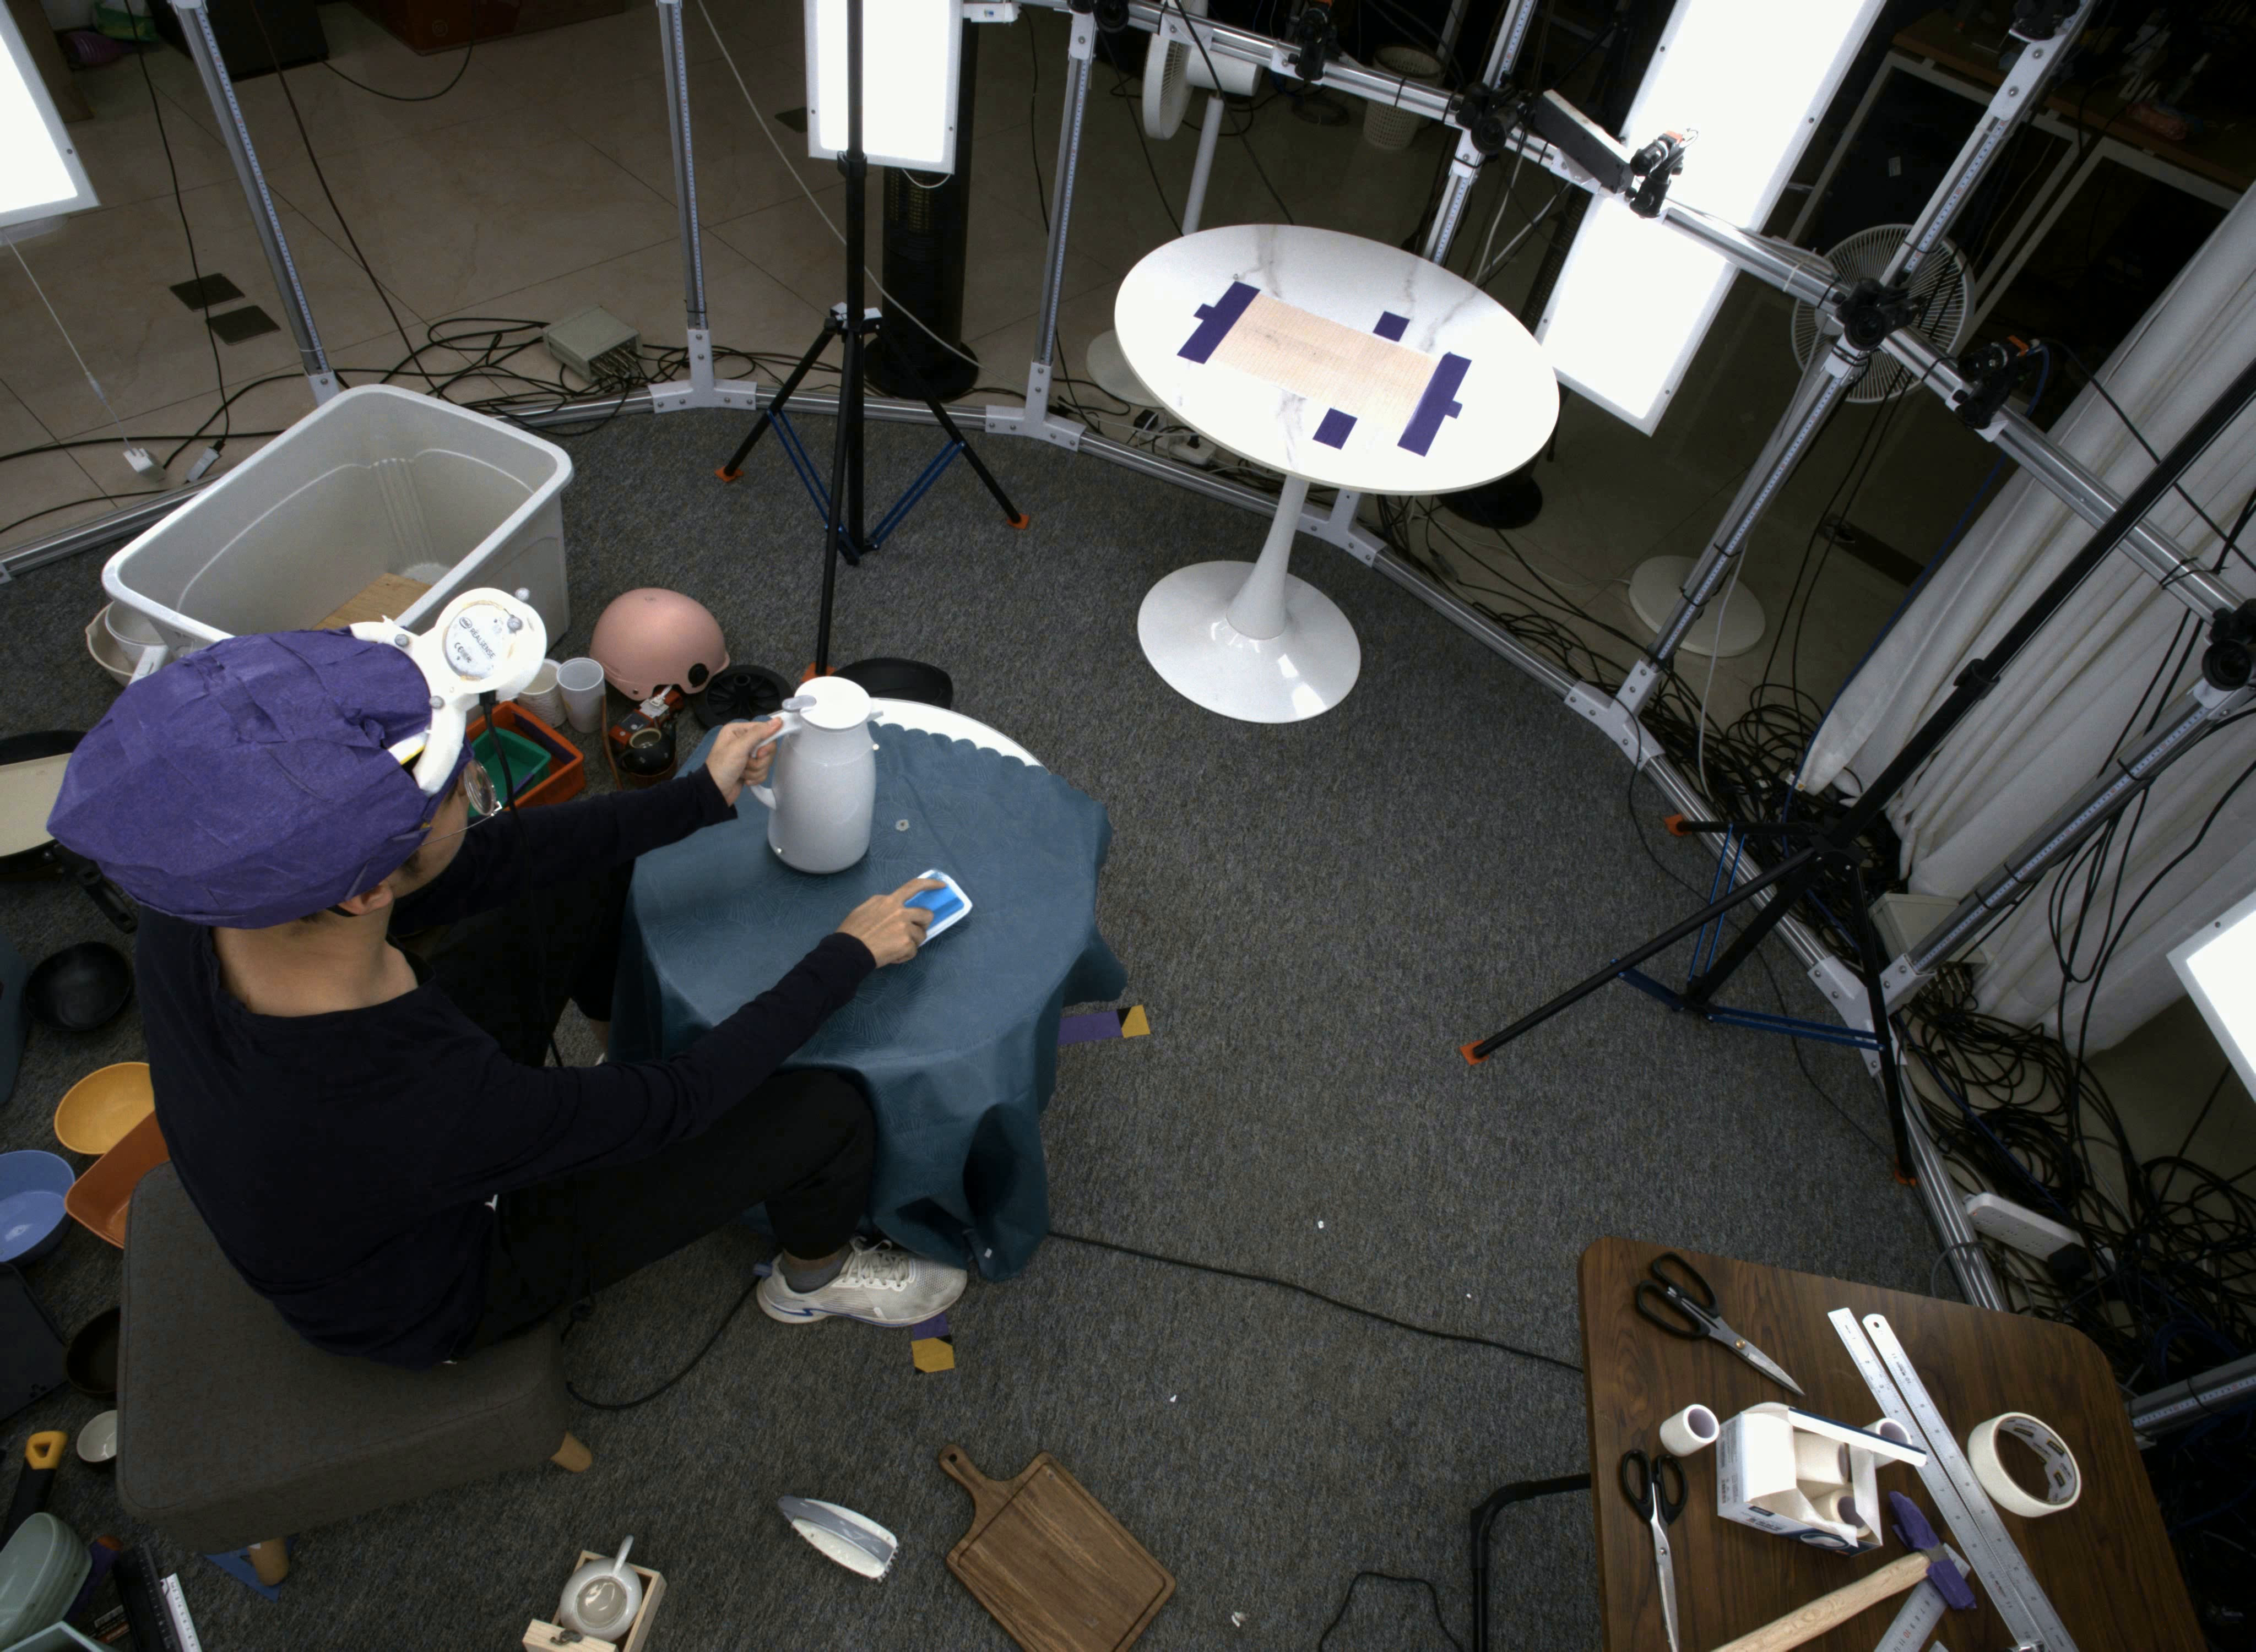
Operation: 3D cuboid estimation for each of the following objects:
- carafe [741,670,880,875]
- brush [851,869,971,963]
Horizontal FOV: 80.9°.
[{"bbox_3d":[-0.396,-0.068,1.611,0.169,0.254,0.129,-13,53,-27],"label":"carafe"},{"bbox_3d":[-0.271,0.103,1.627,0.144,0.057,0.082,-30,70,-29],"label":"brush"}]
